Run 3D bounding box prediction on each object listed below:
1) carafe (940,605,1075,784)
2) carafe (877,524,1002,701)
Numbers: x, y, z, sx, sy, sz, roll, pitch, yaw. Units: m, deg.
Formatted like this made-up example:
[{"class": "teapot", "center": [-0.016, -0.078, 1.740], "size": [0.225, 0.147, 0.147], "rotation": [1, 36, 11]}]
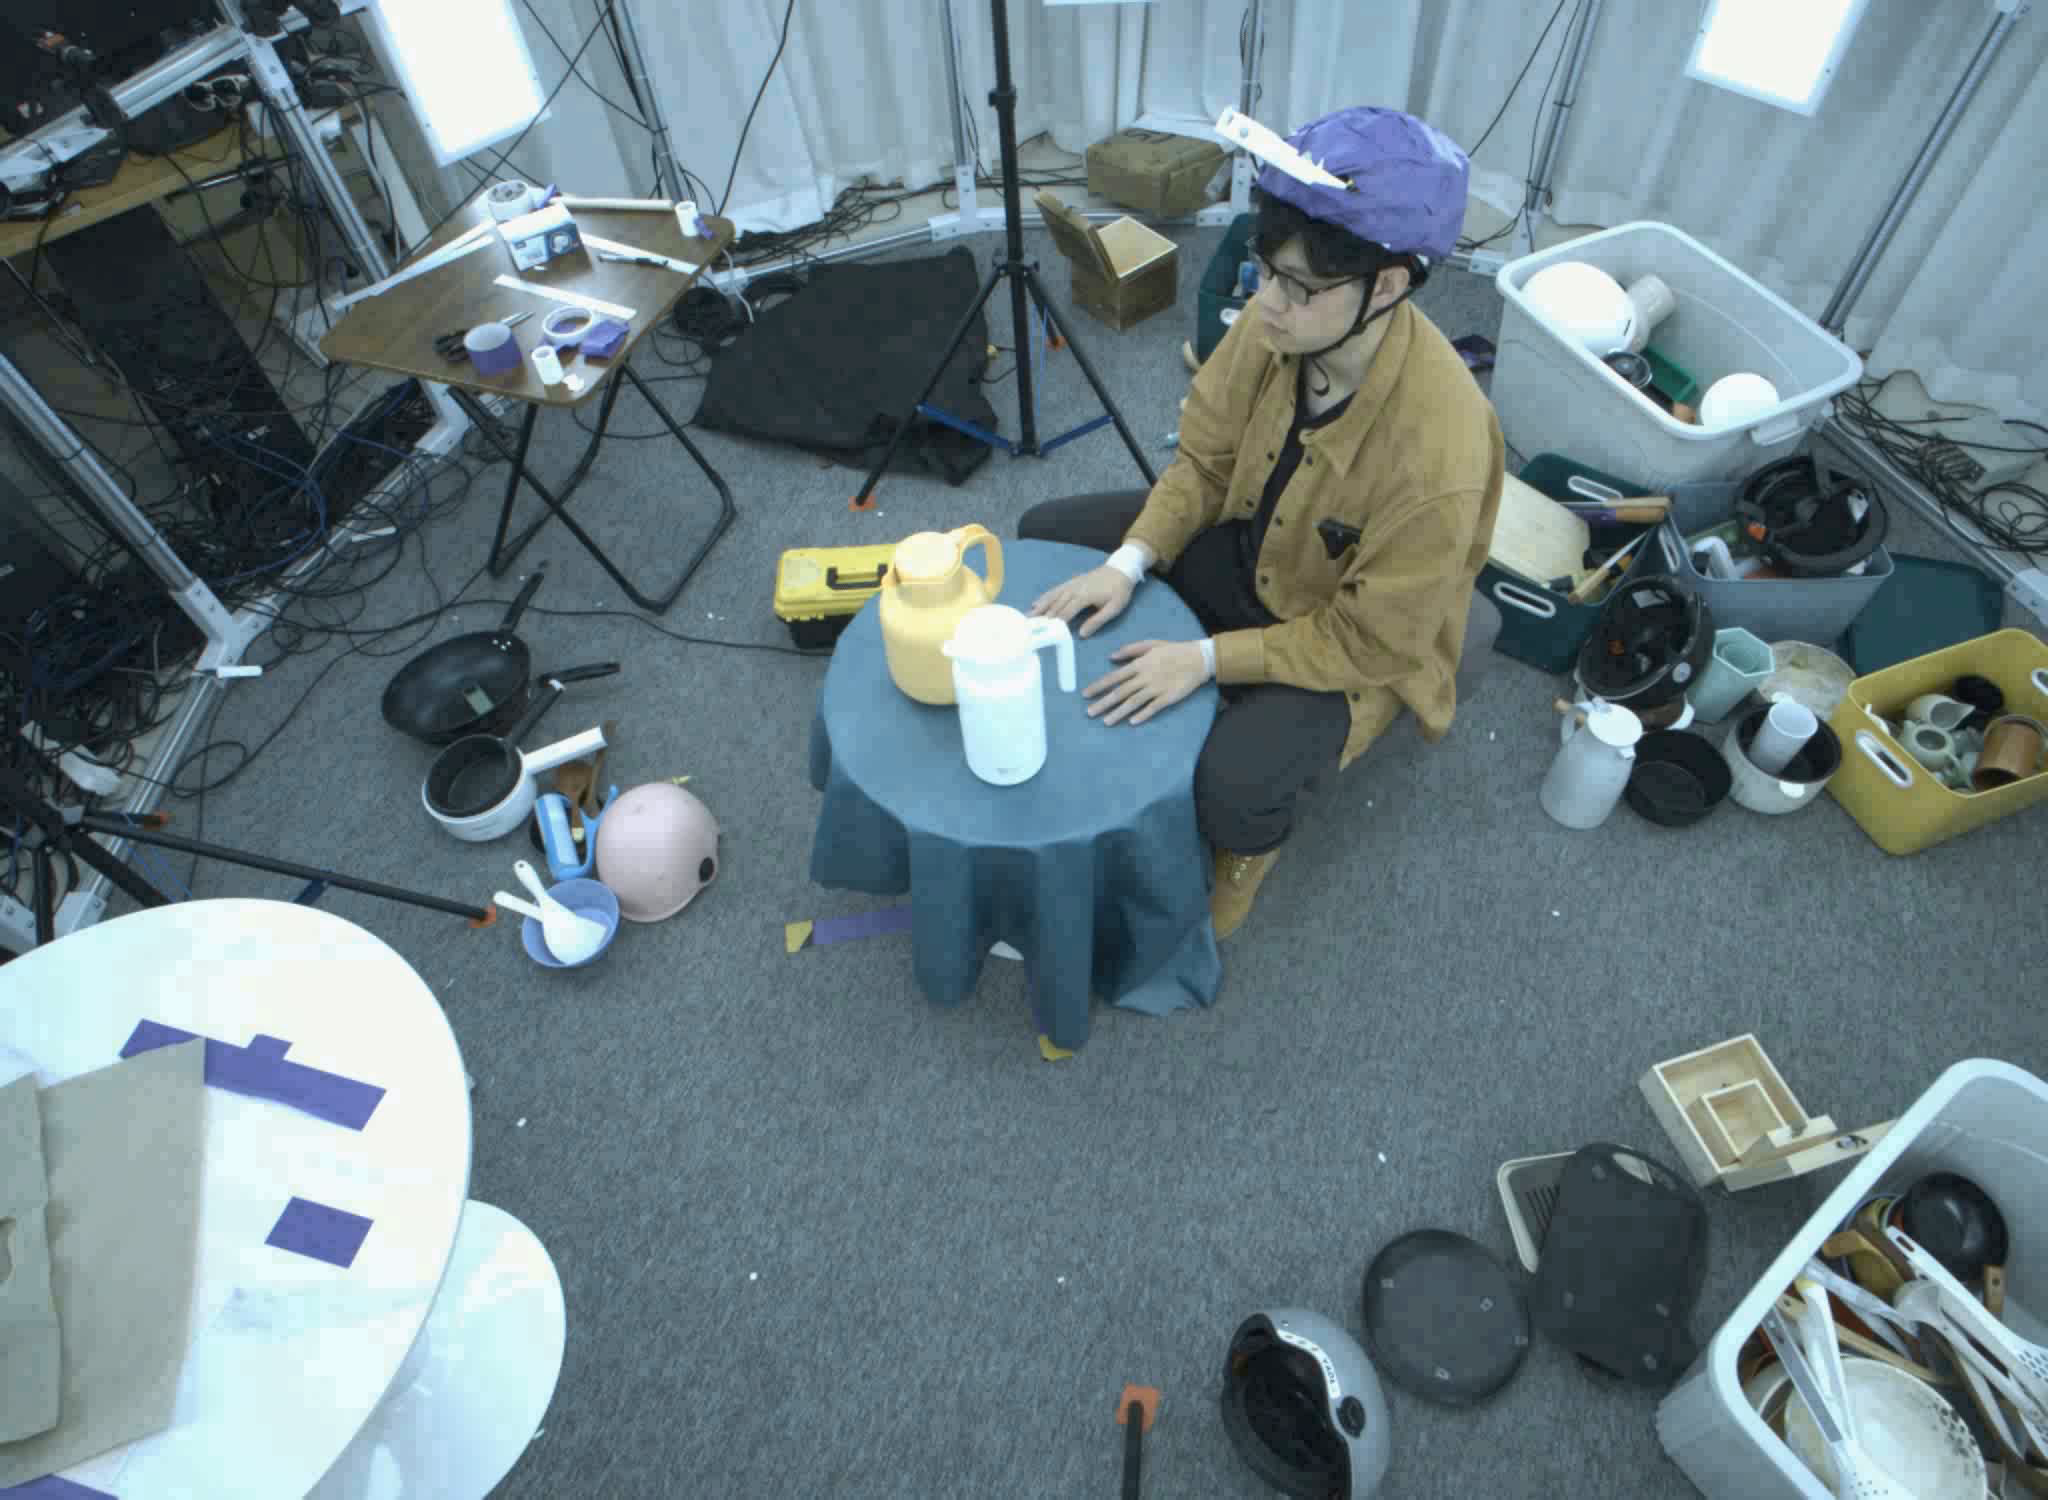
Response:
[{"class": "carafe", "center": [-0.017, -0.078, 1.674], "size": [0.174, 0.272, 0.122], "rotation": [-15, 53, -8]}, {"class": "carafe", "center": [-0.114, -0.208, 1.772], "size": [0.204, 0.263, 0.160], "rotation": [-35, 63, -19]}]
